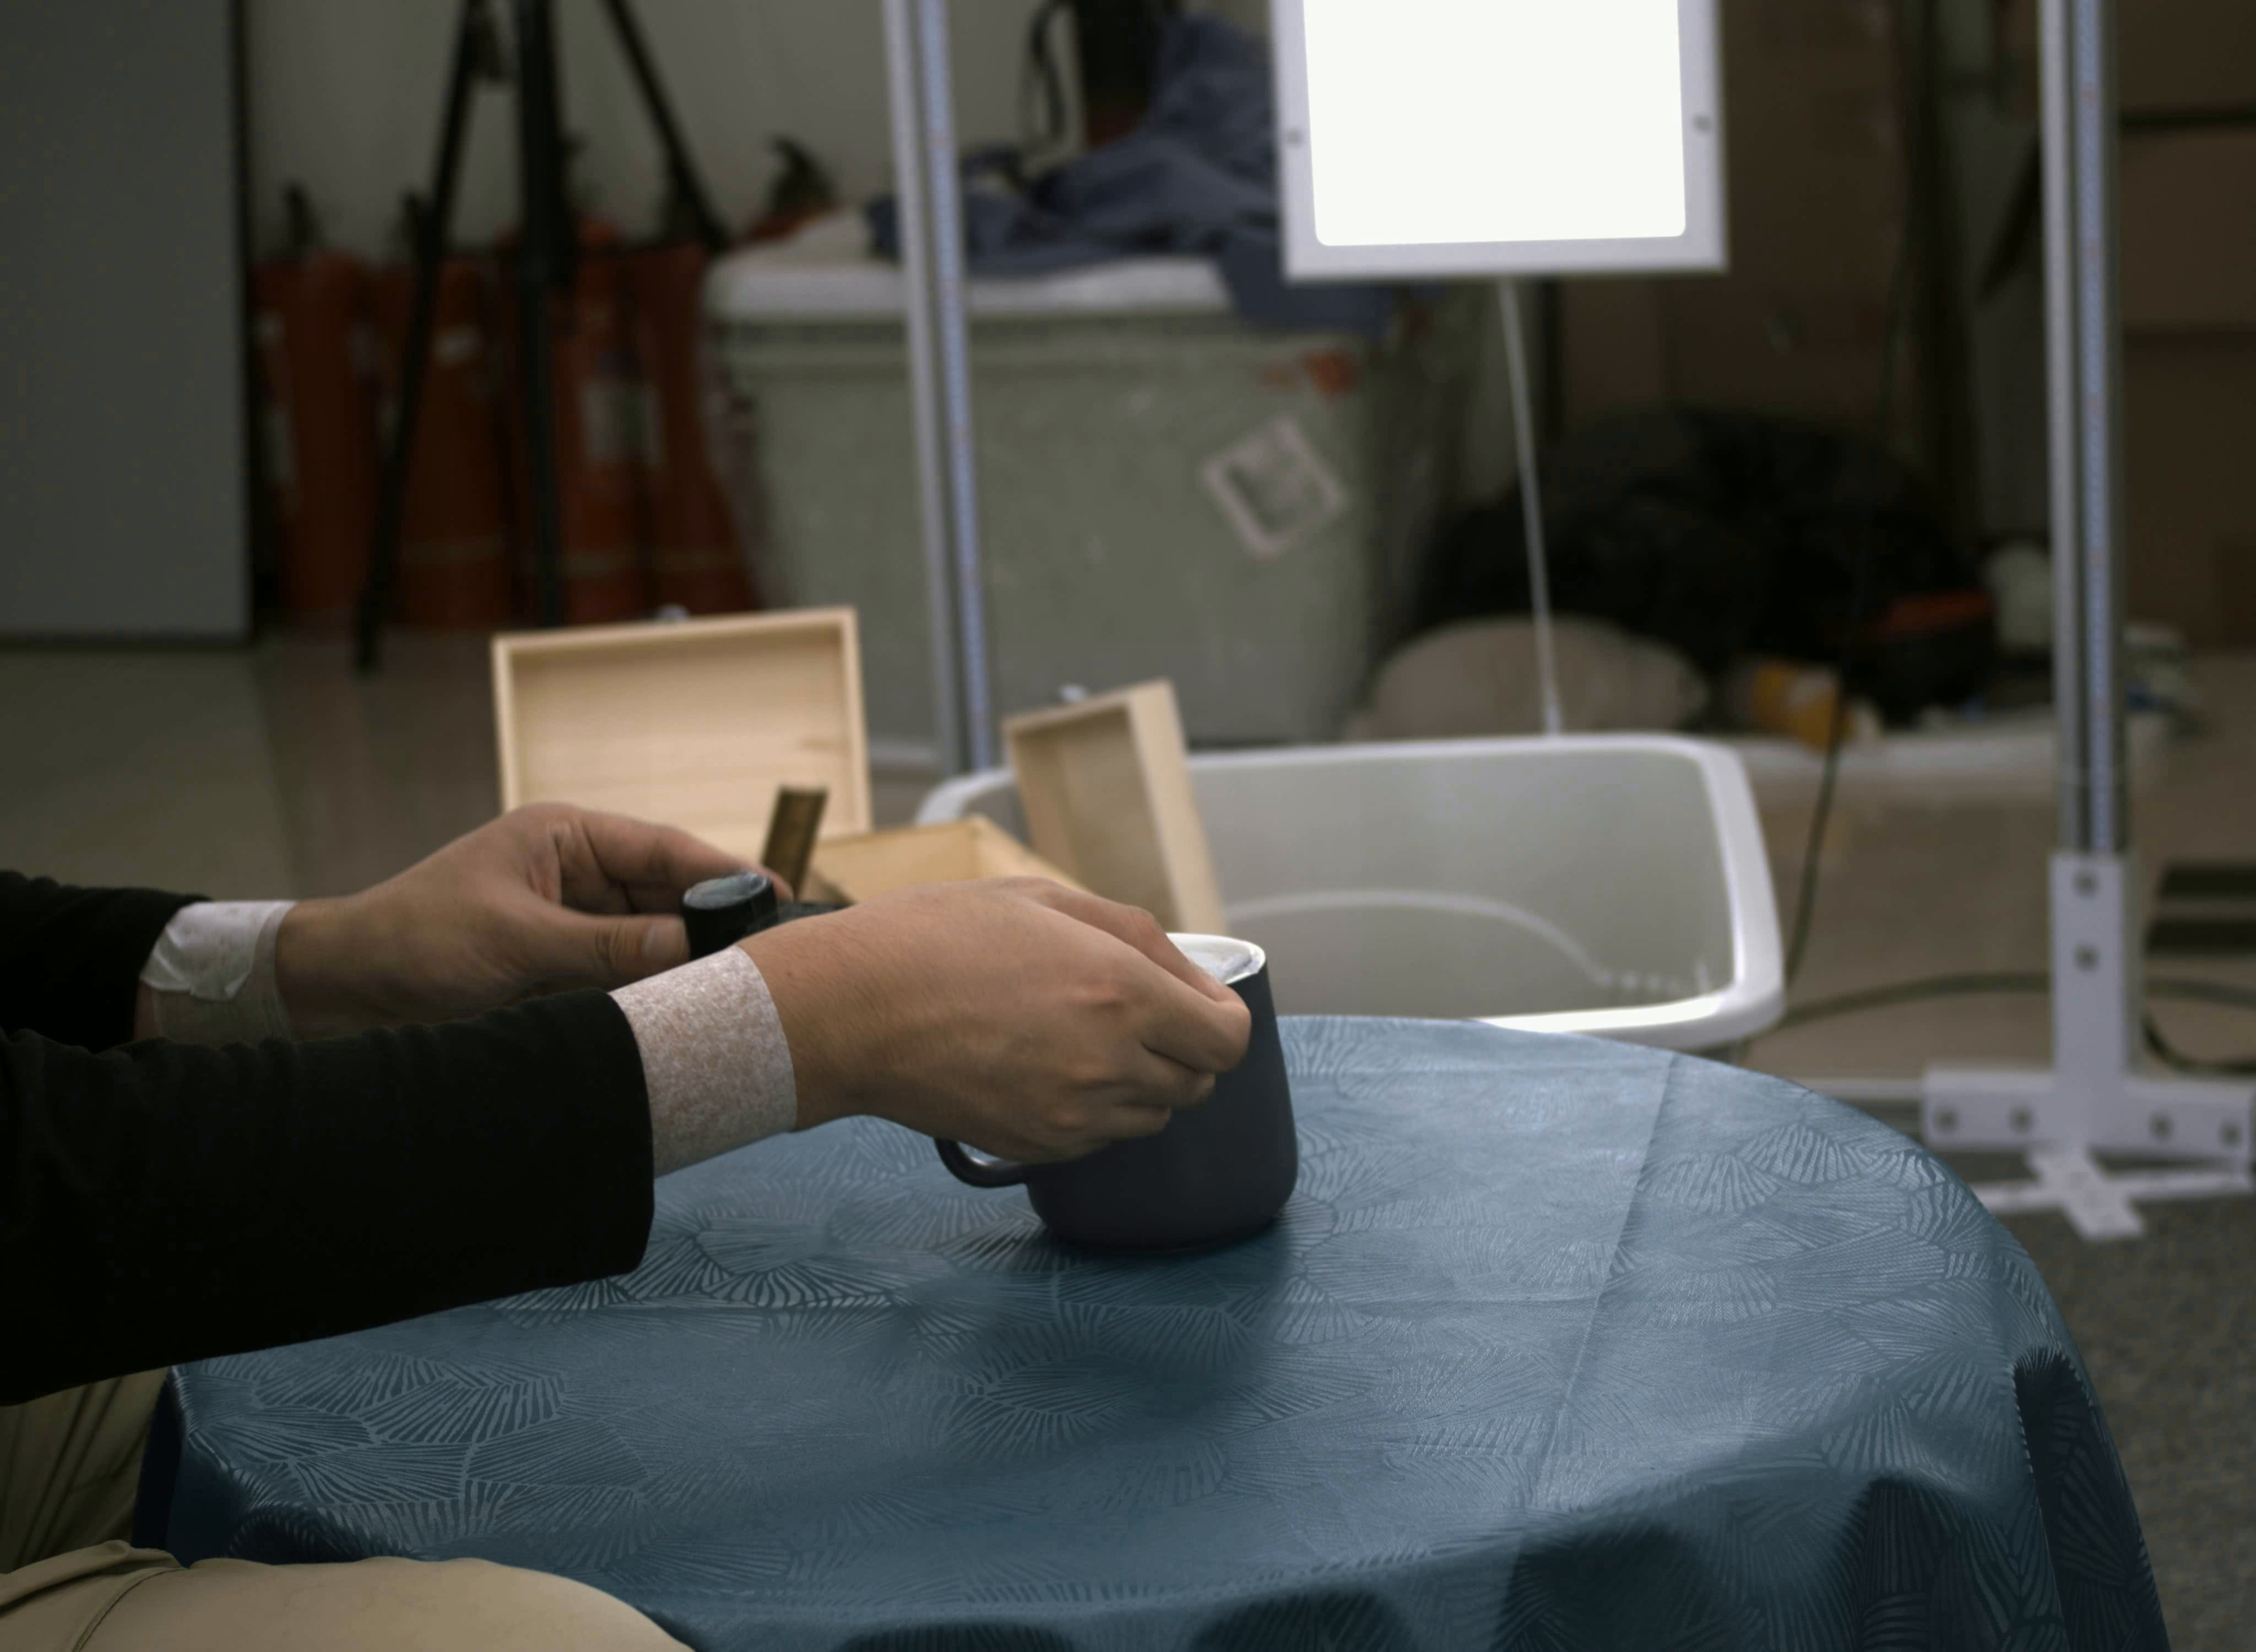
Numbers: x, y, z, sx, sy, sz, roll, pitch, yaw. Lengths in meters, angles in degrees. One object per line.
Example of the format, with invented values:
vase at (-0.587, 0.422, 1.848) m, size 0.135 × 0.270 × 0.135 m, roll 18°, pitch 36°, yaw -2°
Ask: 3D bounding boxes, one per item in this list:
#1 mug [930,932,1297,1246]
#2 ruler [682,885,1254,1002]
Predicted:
mug at (-0.005, 0.089, 1.855) m, size 0.123 × 0.090 × 0.093 m, roll -4°, pitch 13°, yaw 0°
ruler at (-0.058, 0.037, 1.781) m, size 0.223 × 0.024 × 0.037 m, roll 1°, pitch 28°, yaw 39°
